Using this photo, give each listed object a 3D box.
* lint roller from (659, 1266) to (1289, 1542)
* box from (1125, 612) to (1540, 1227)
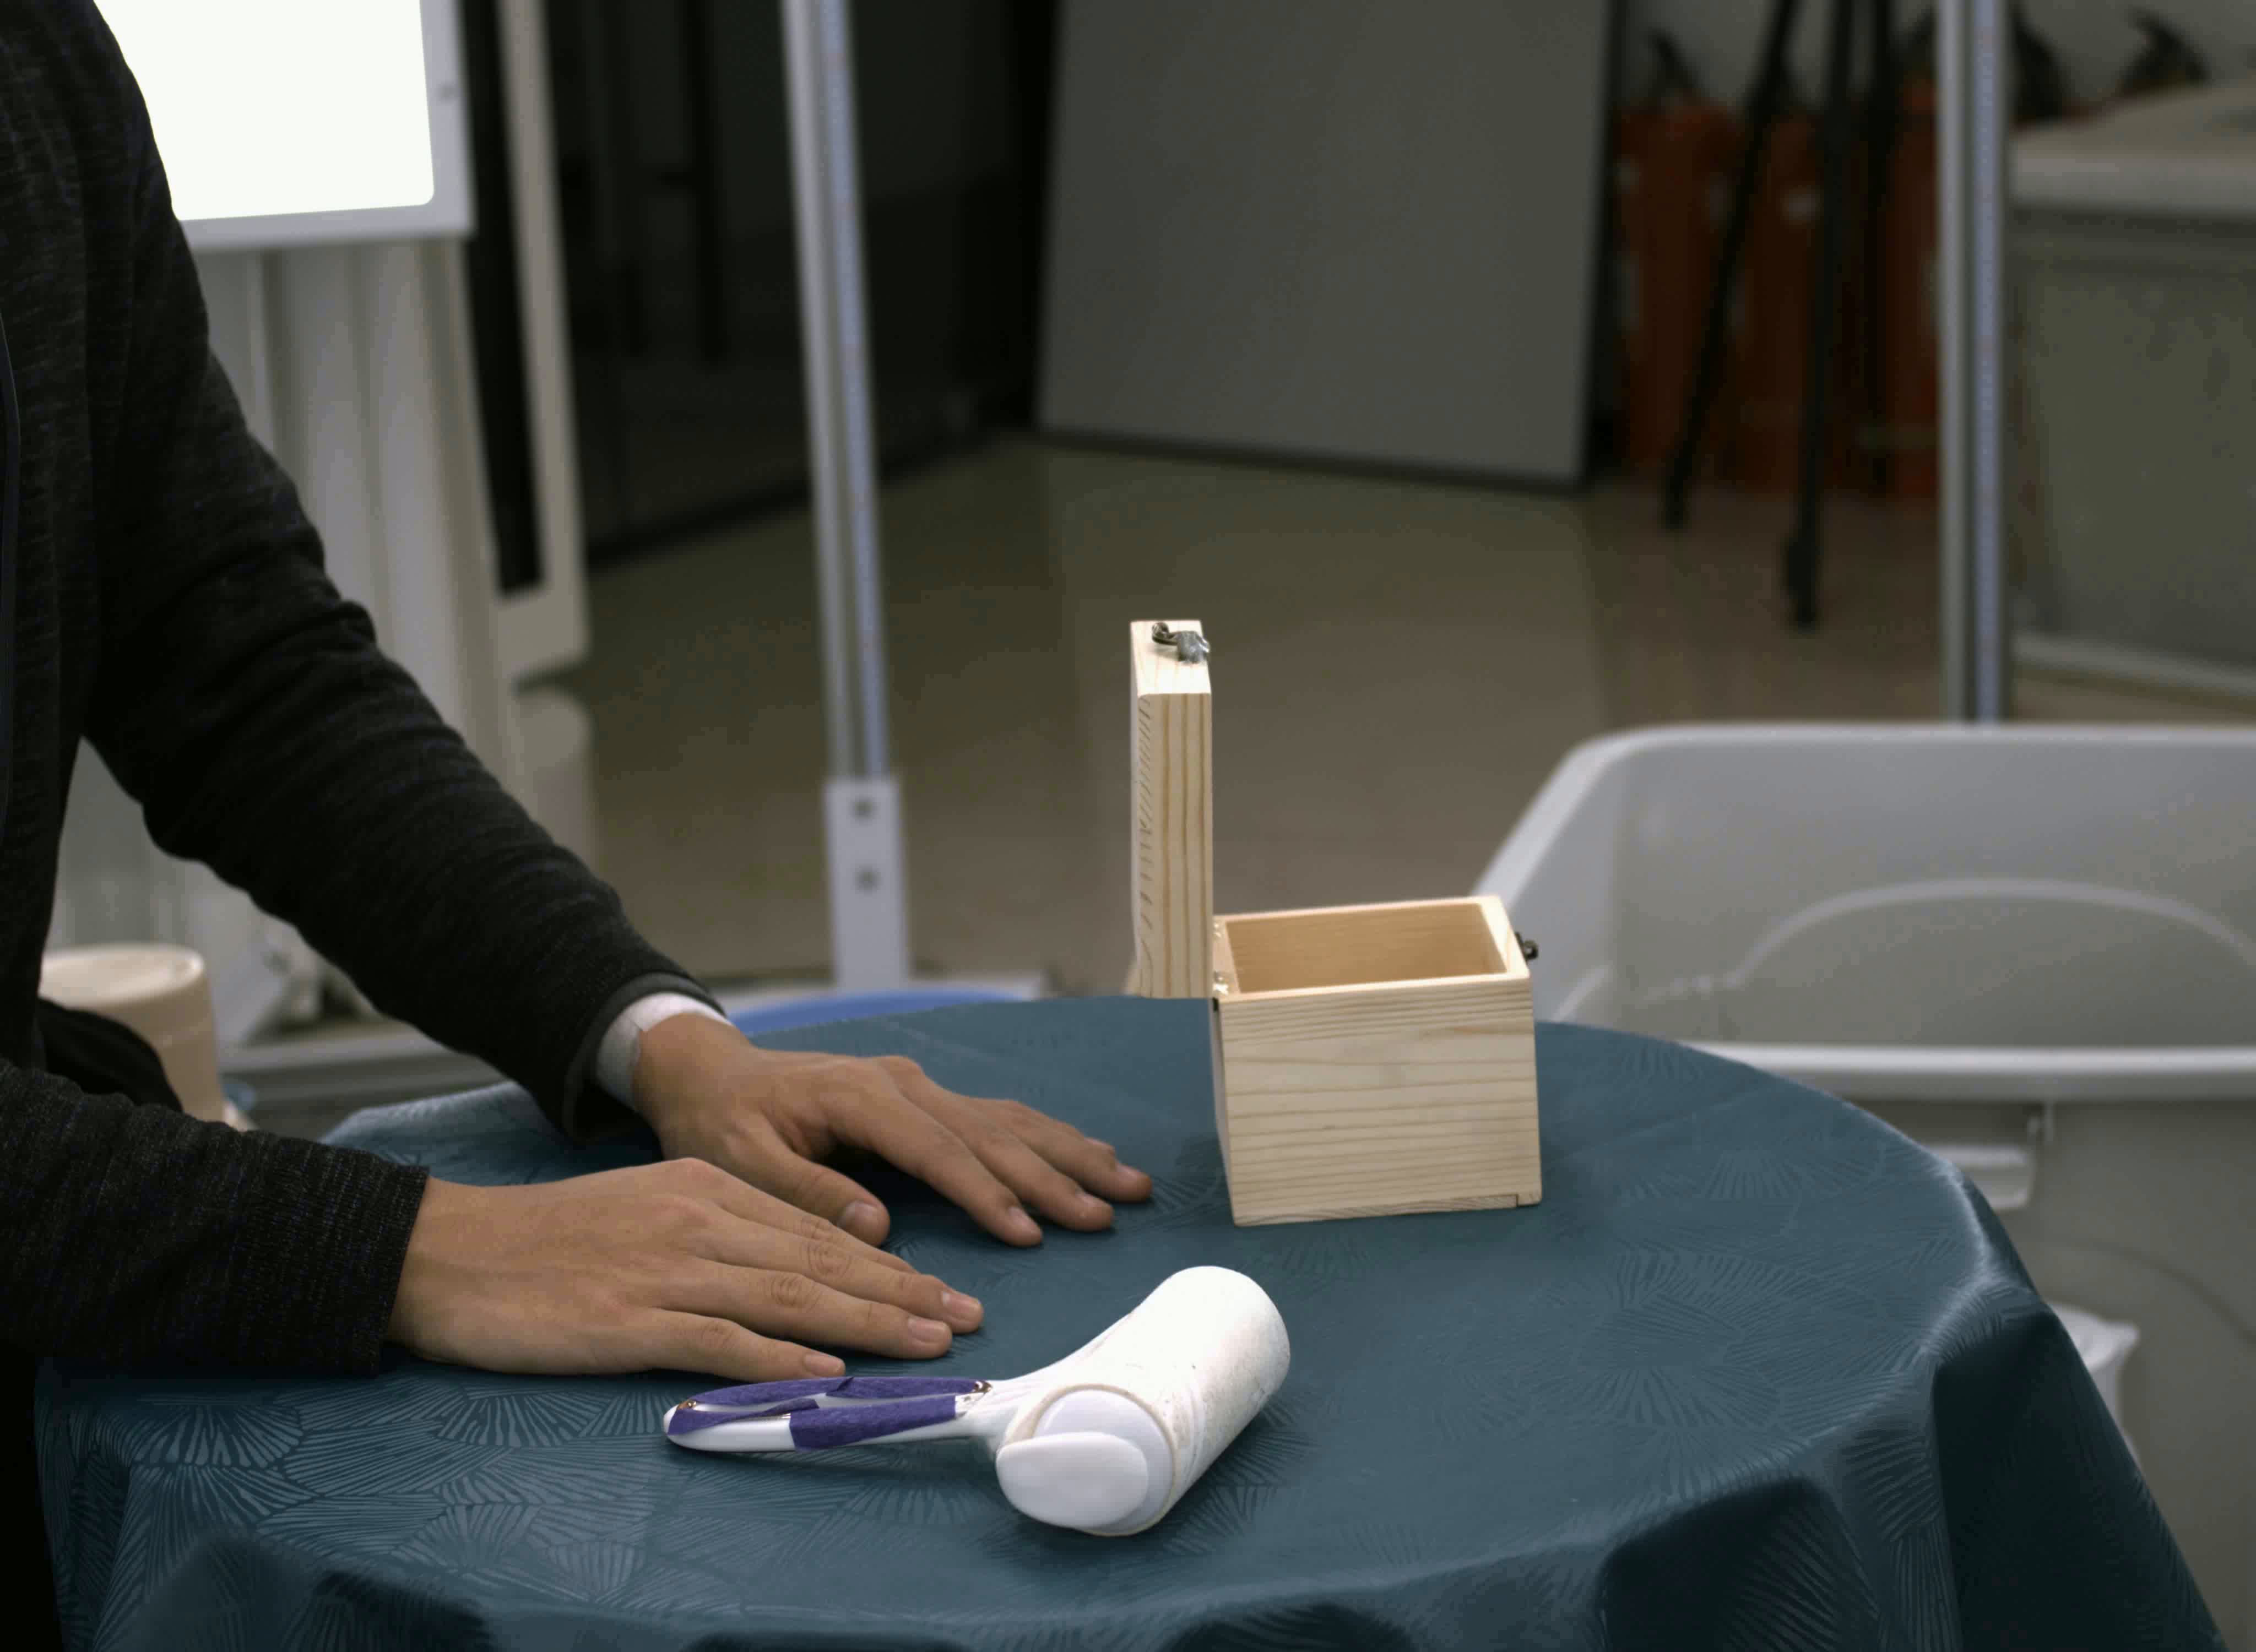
[{"bbox_3d":[-0.051,0.158,1.536,0.181,0.051,0.131,4,17,22],"label":"lint roller"},{"bbox_3d":[0.067,0.025,1.754,0.132,0.186,0.103,-5,13,0],"label":"box"}]
